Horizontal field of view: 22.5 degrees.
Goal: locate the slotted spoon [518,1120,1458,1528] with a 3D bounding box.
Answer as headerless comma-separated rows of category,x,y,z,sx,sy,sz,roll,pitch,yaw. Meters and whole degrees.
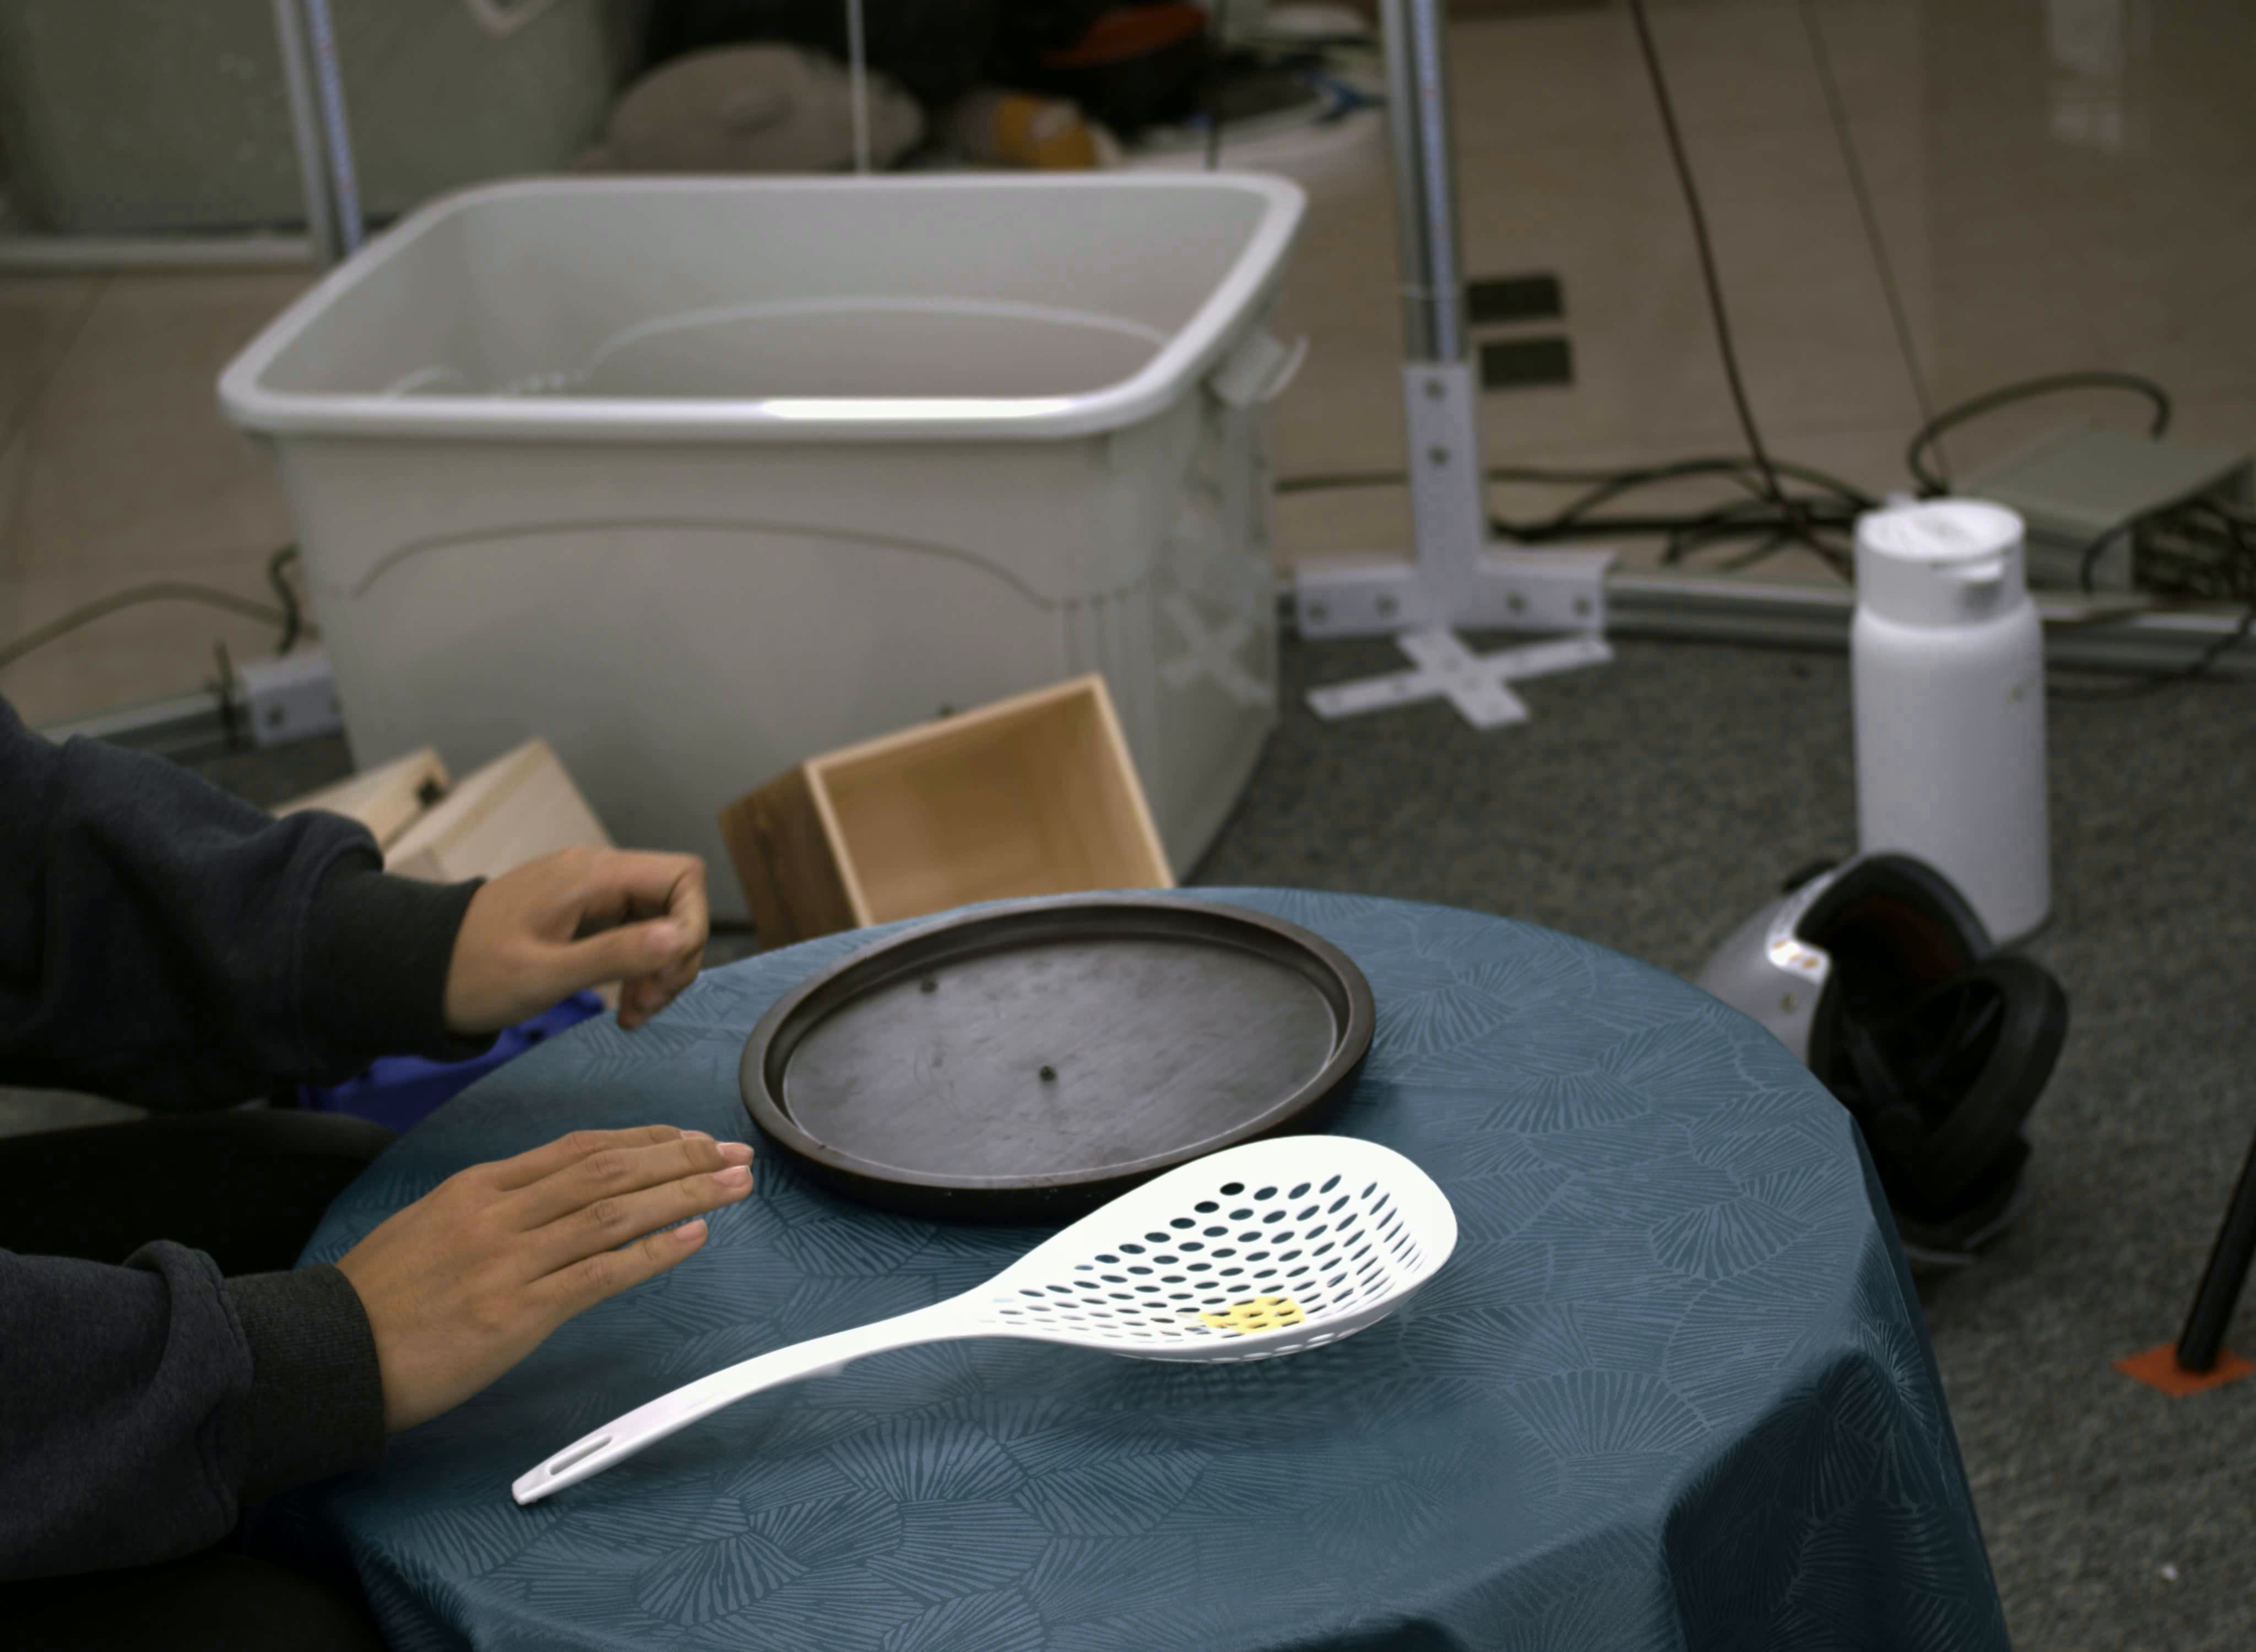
slotted spoon,-0.051,0.183,2.015,0.347,0.051,0.135,-12,28,-12

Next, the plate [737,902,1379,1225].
plate,-0.027,0.091,2.228,0.254,0.029,0.251,-5,26,3
